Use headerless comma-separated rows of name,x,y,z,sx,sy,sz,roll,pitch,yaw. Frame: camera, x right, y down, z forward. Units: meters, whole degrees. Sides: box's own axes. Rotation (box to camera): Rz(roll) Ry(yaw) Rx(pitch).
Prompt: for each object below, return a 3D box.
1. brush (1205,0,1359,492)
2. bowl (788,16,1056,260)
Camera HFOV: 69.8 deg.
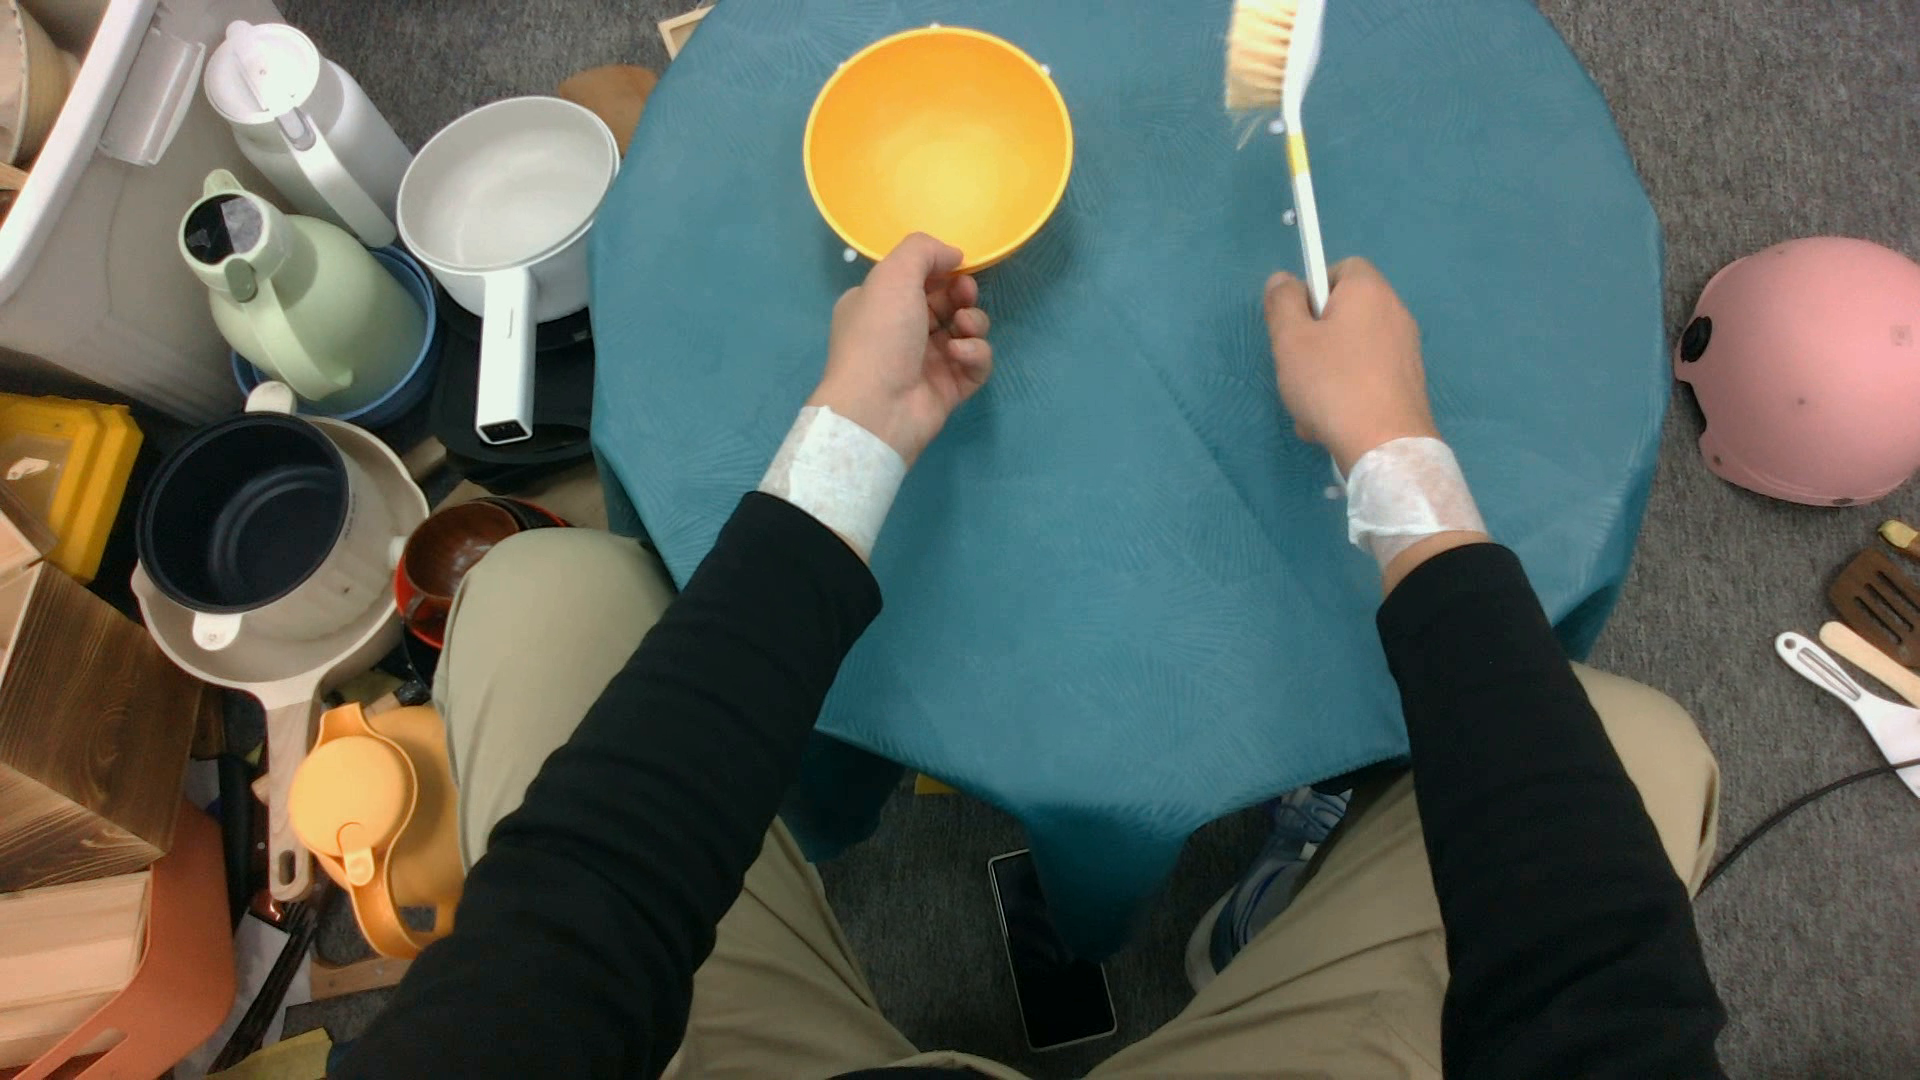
brush,0.162,-0.155,0.700,0.056,0.068,0.266,-6,88,18
bowl,-0.019,-0.211,0.763,0.145,0.060,0.145,-1,74,2
